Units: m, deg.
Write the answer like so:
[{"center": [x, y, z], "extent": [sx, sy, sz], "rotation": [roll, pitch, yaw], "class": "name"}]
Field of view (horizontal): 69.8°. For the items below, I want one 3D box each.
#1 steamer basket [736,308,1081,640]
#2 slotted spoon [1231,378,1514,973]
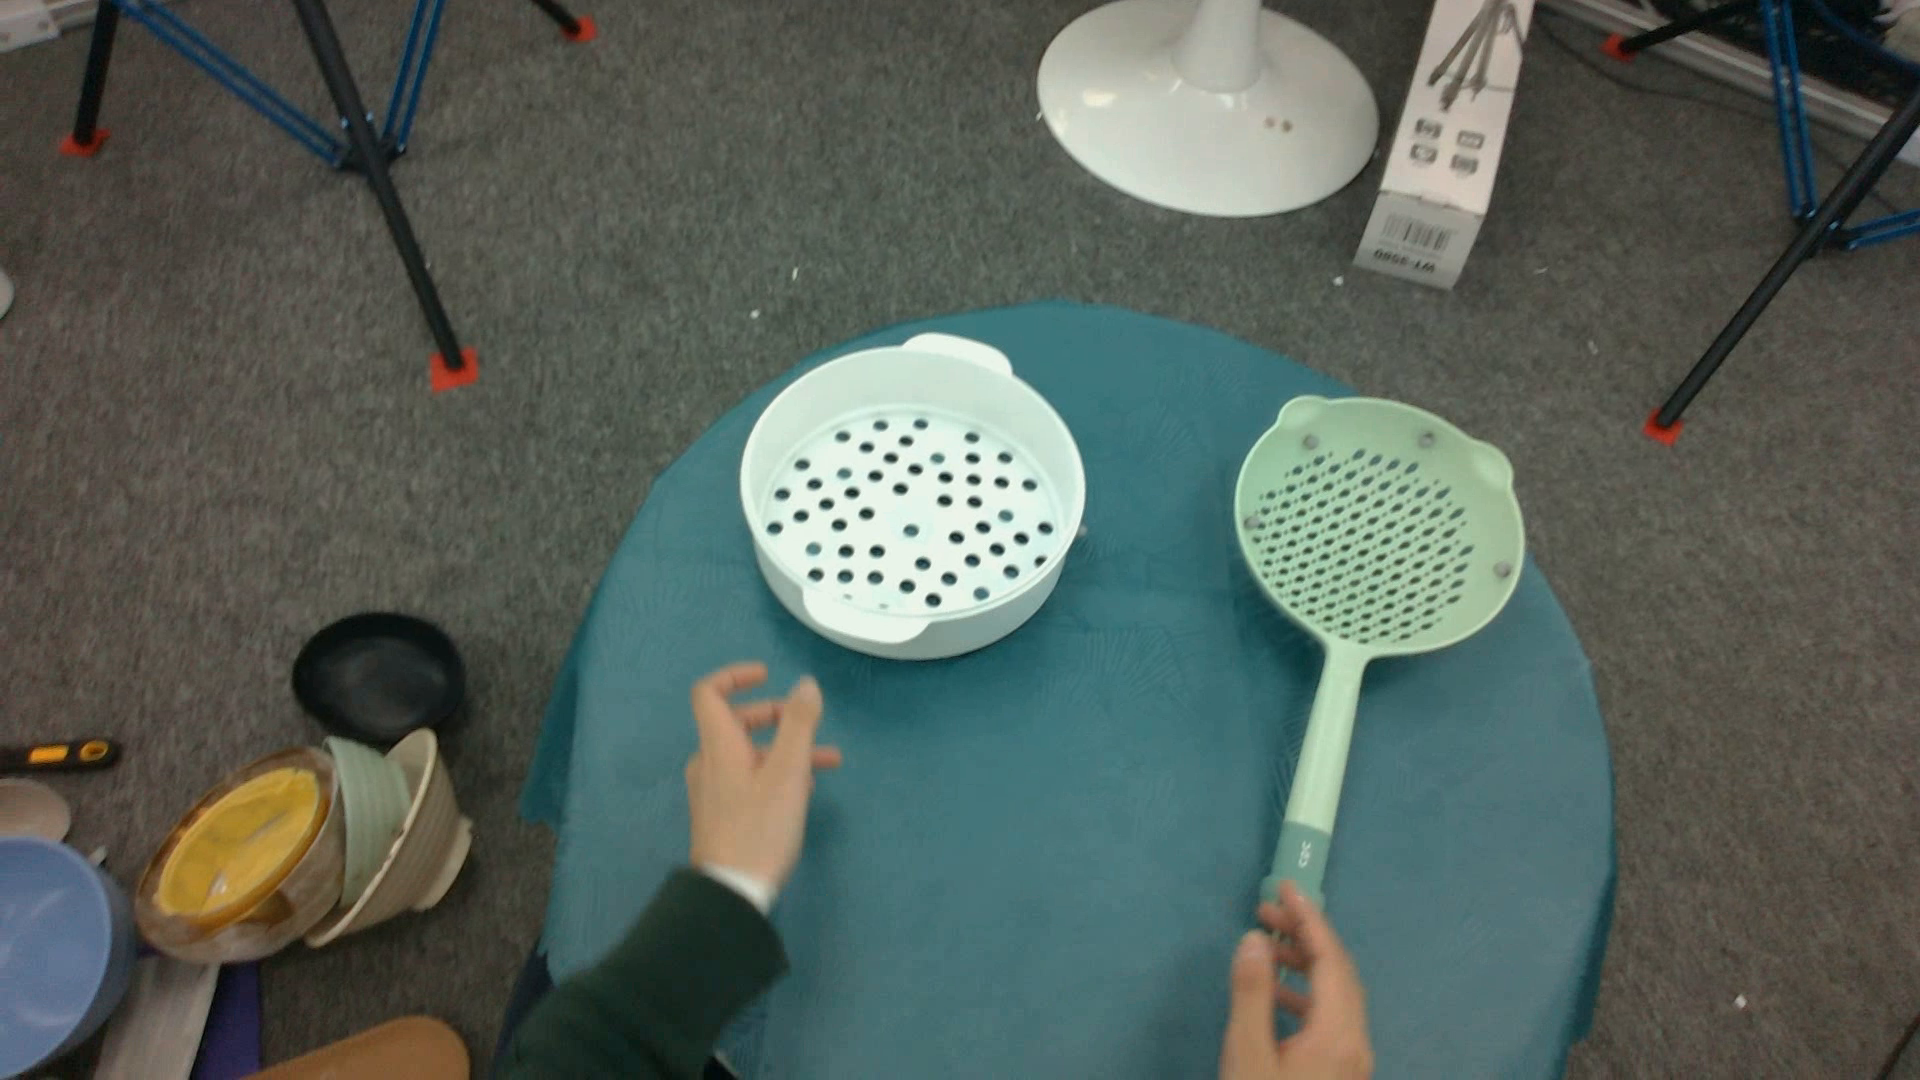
[{"center": [-0.031, -0.036, 0.828], "extent": [0.202, 0.069, 0.231], "rotation": [14, 57, 5], "class": "steamer basket"}, {"center": [0.212, 0.066, 0.784], "extent": [0.169, 0.075, 0.360], "rotation": [18, 56, 7], "class": "slotted spoon"}]
